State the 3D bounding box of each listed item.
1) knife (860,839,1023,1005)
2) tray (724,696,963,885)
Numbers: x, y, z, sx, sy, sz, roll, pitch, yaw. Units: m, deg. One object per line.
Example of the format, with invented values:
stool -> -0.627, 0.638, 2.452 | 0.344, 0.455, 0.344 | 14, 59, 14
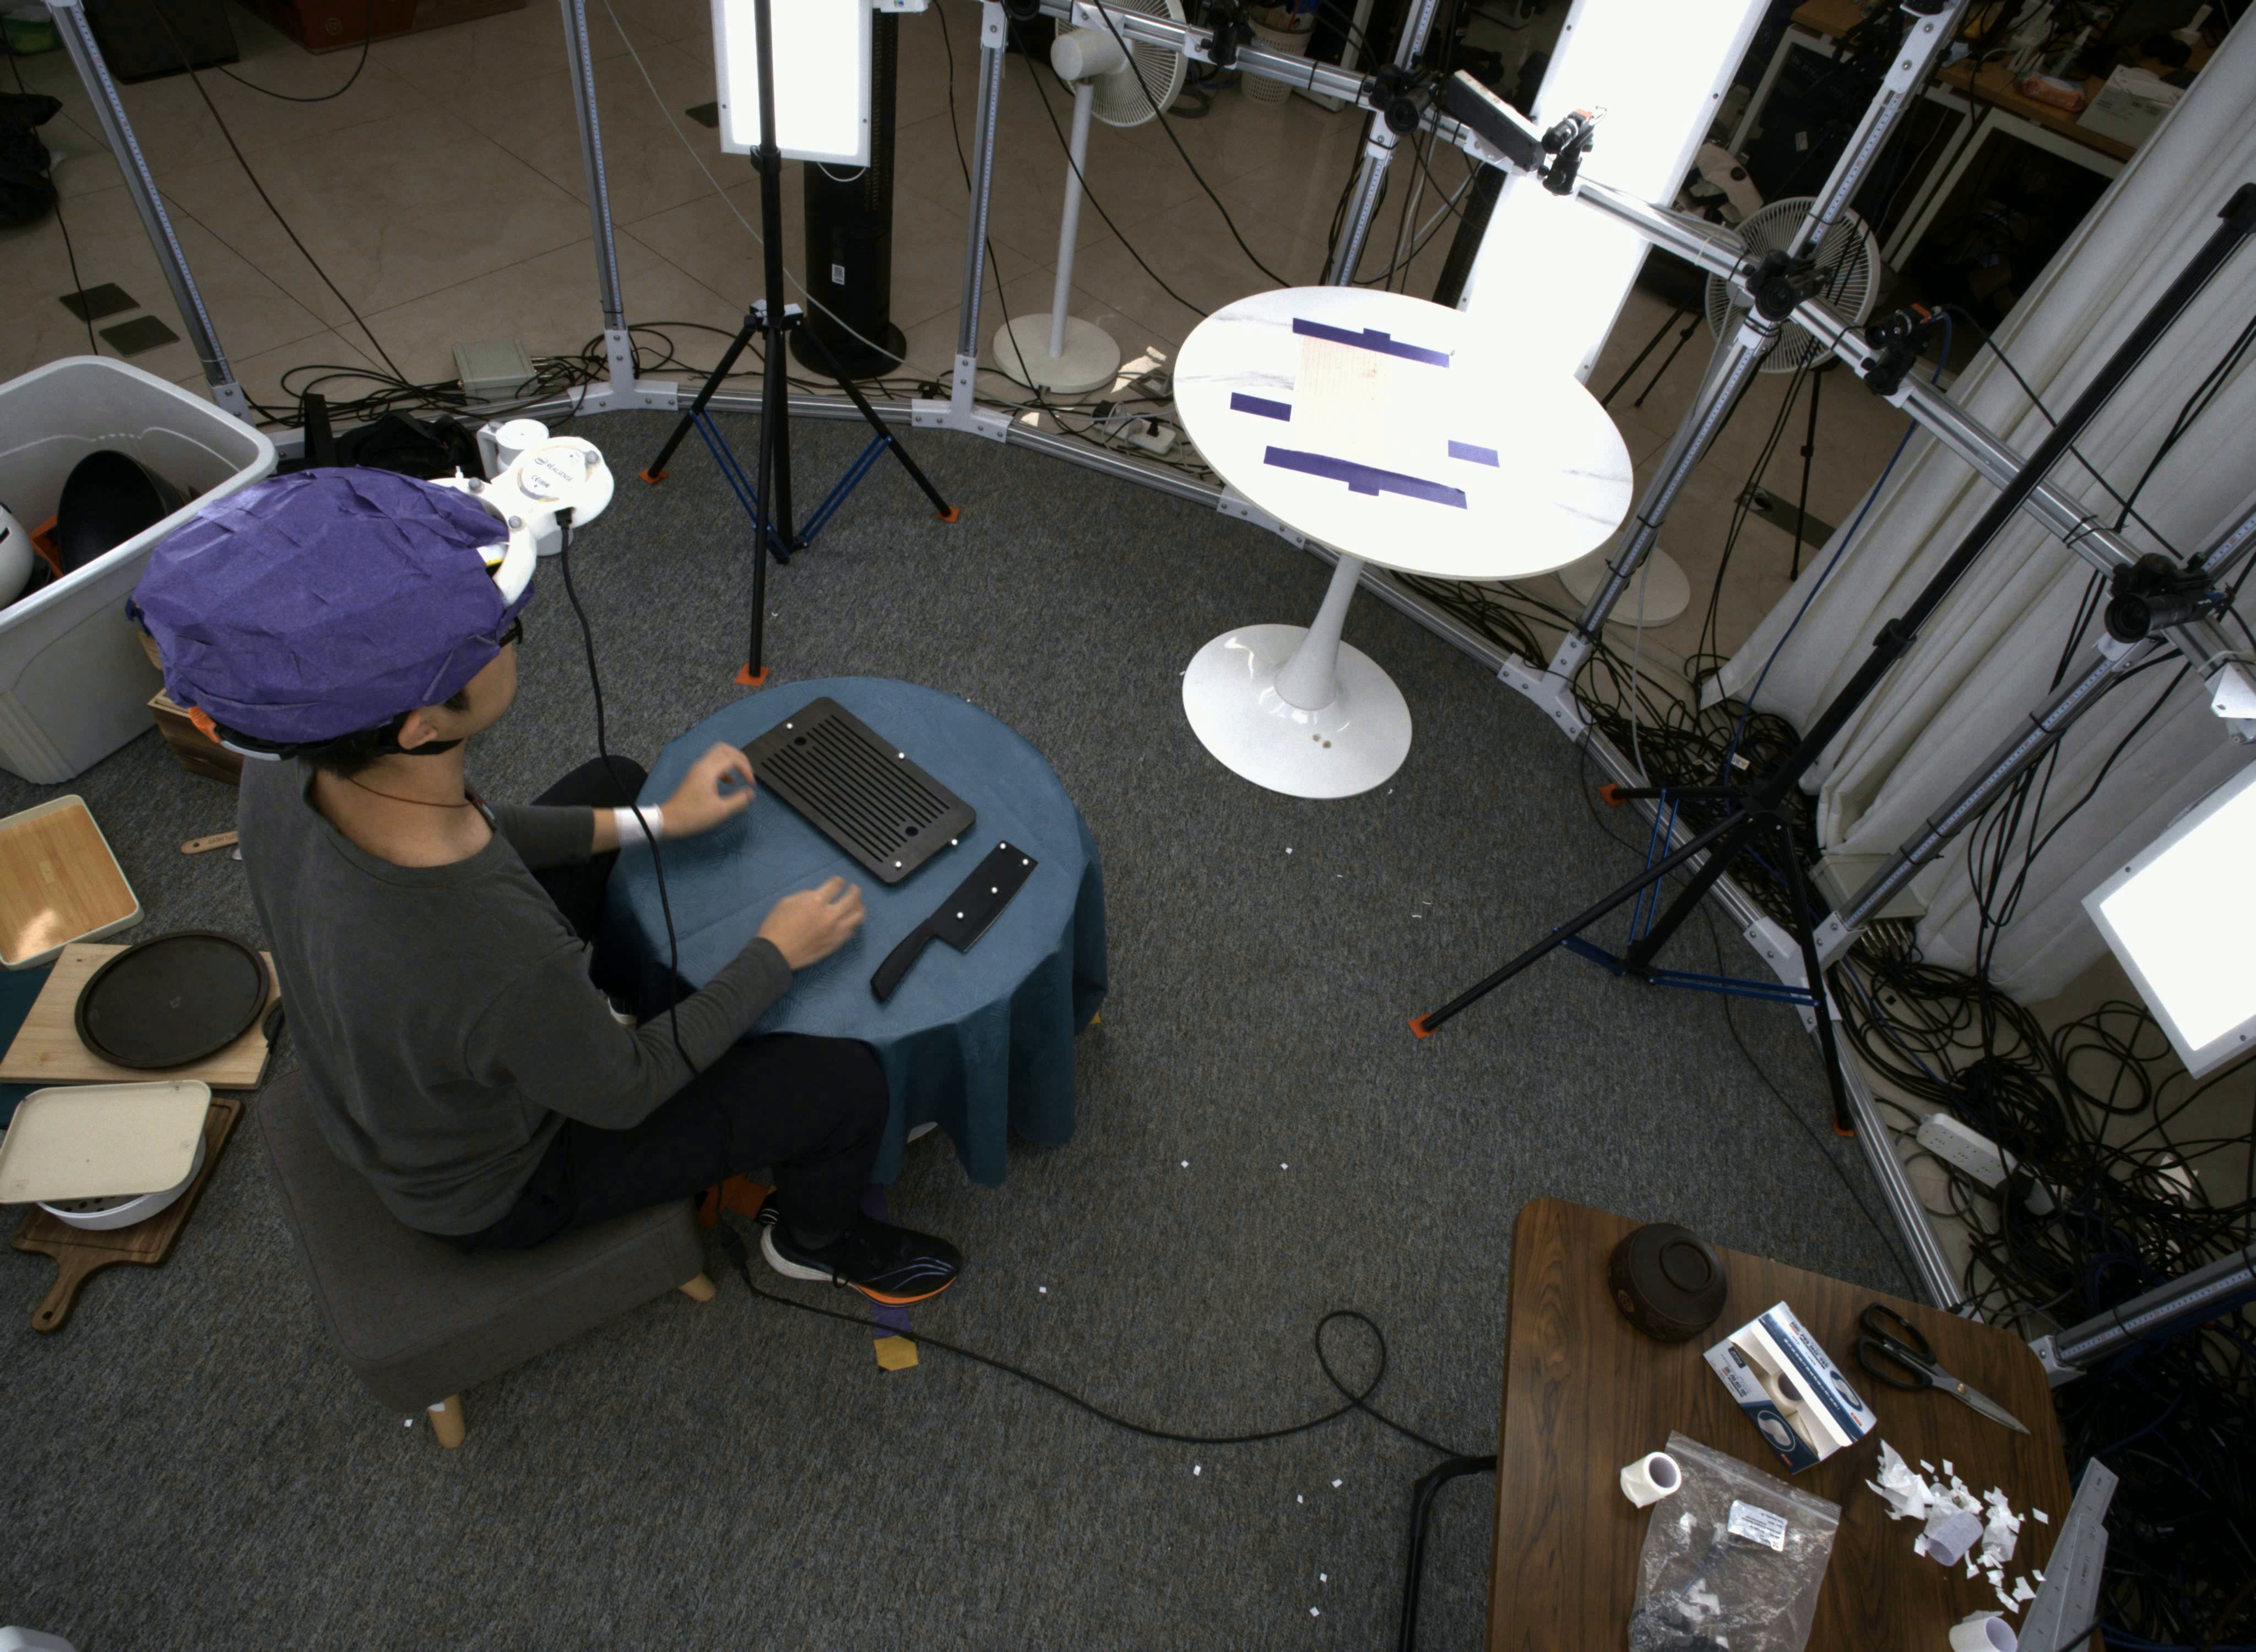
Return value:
knife -> -0.240, 0.121, 1.684 | 0.079, 0.021, 0.302 | 35, 52, 11
tray -> -0.388, -0.052, 1.771 | 0.300, 0.019, 0.170 | 37, 54, 13
